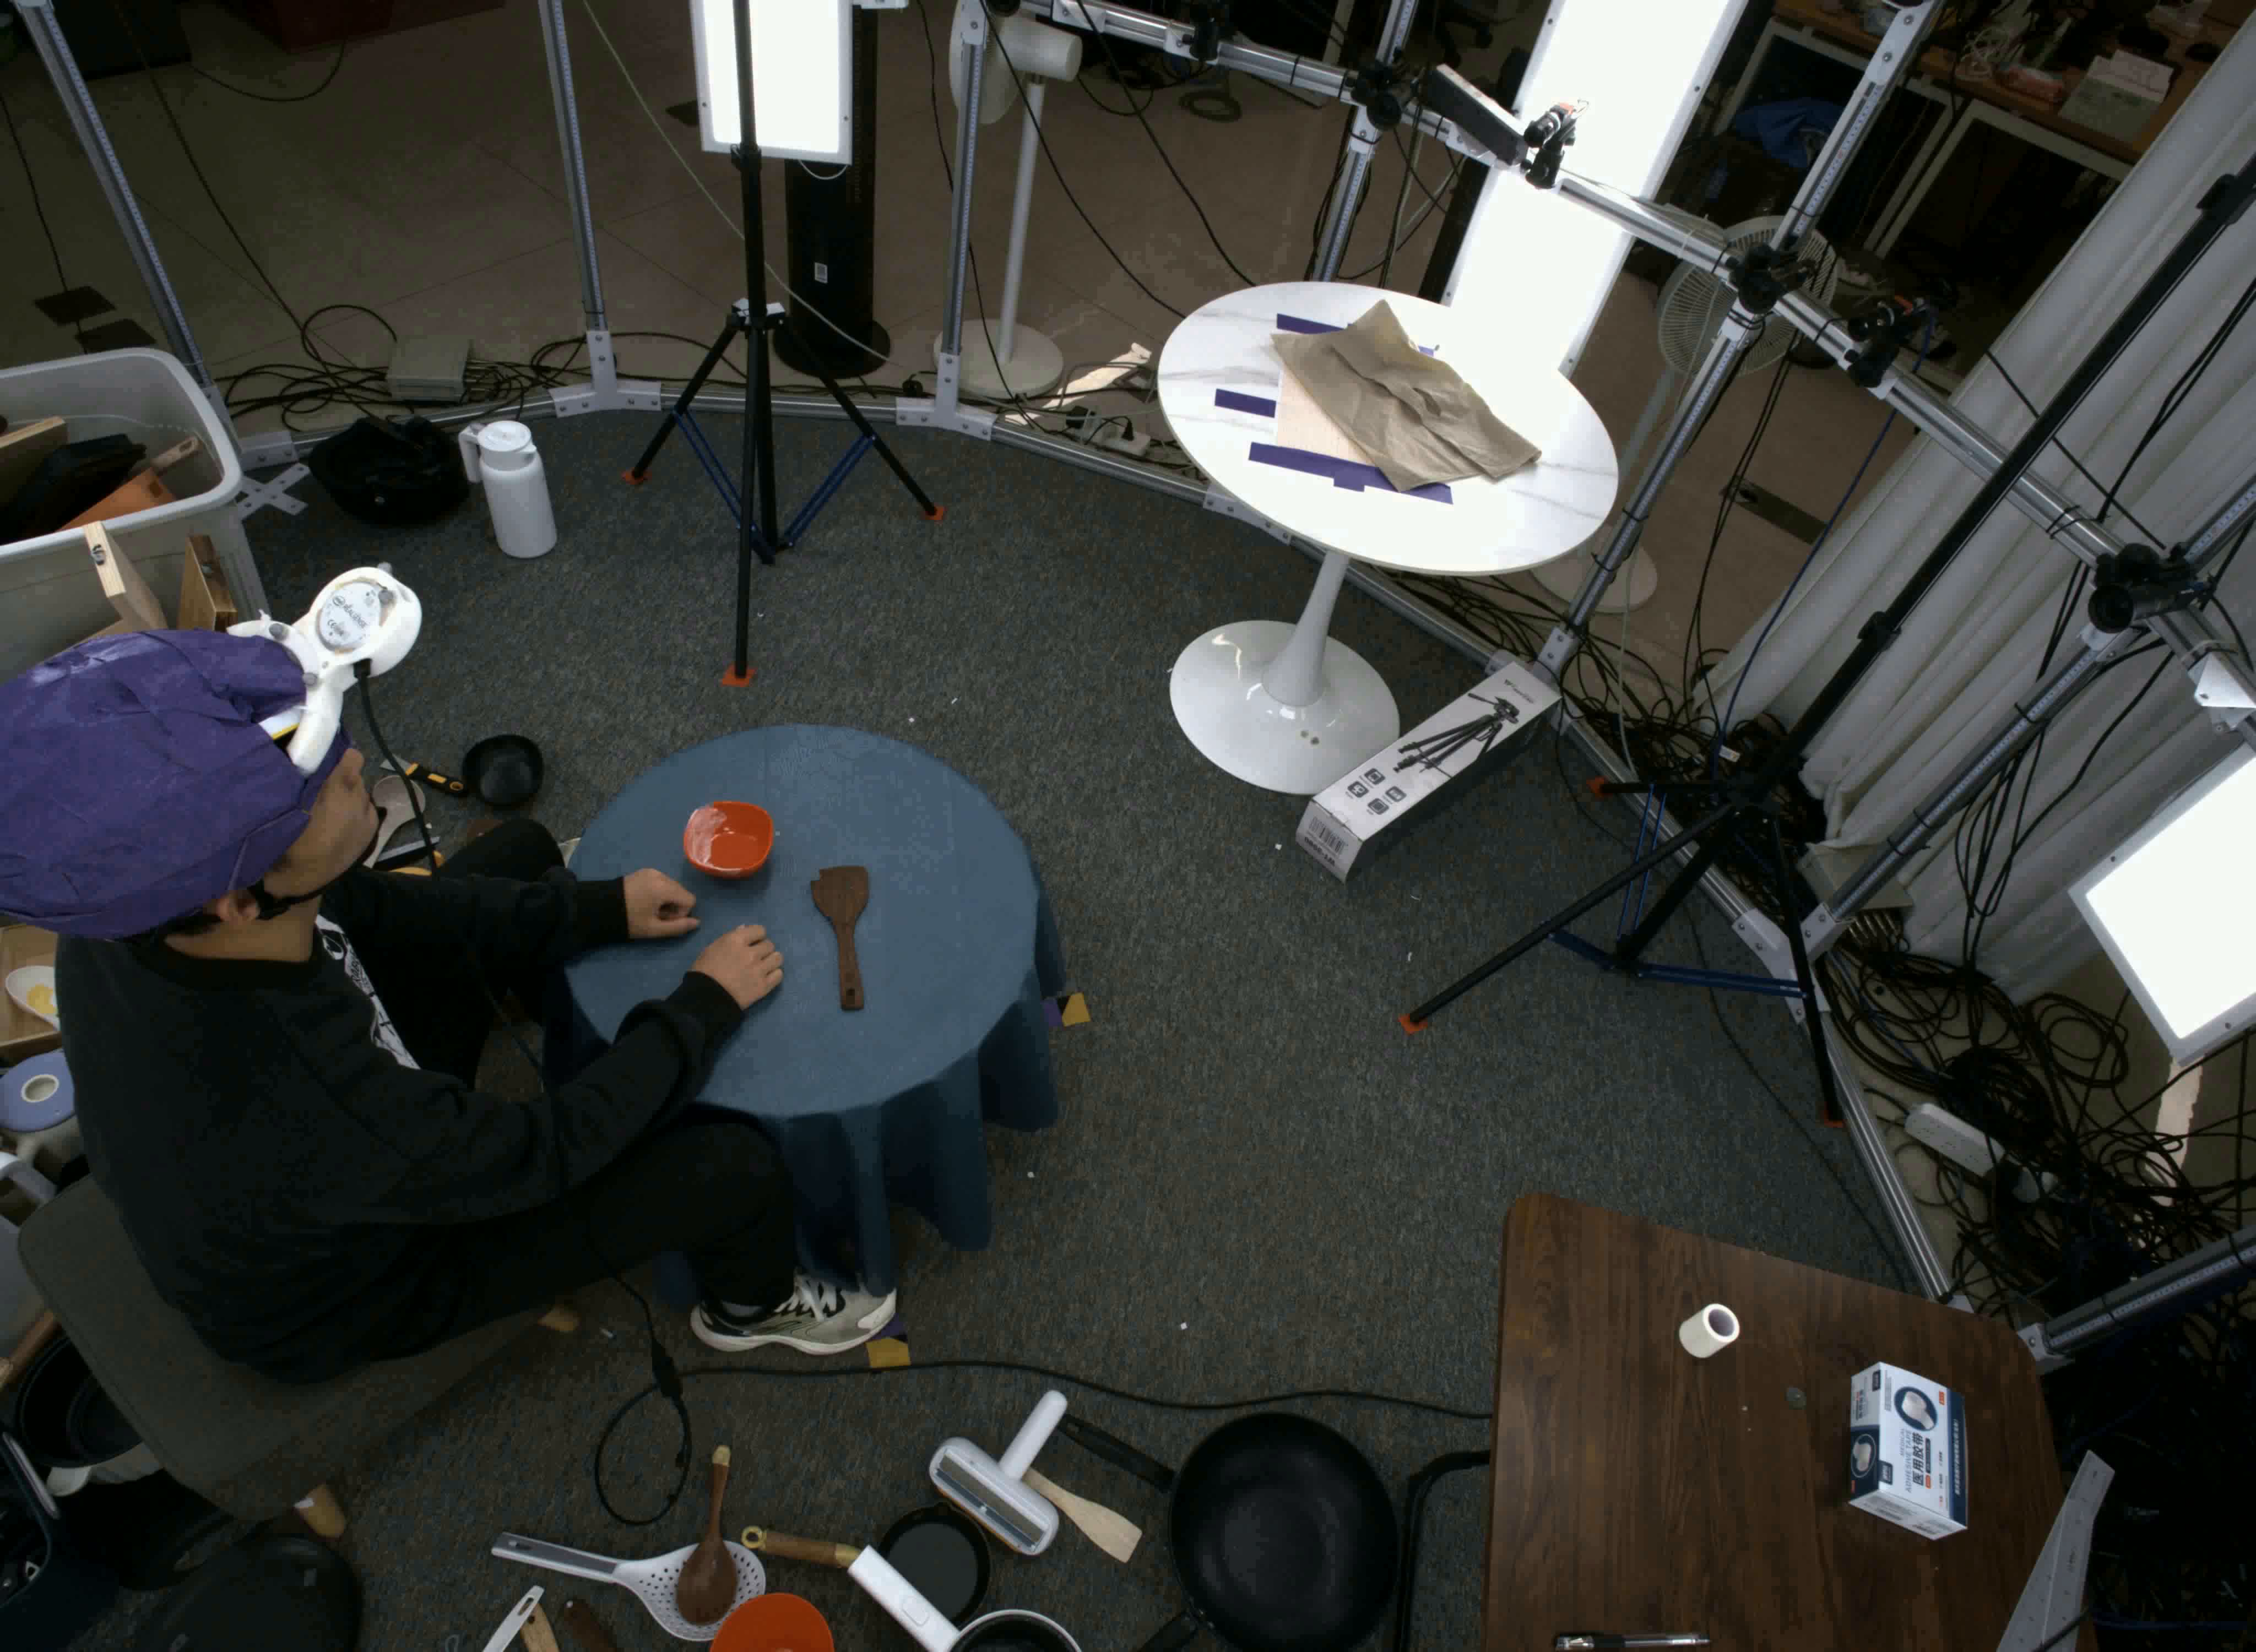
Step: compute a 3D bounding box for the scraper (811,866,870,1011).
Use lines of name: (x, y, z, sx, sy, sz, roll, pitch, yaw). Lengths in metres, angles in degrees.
scraper: (-0.356, 0.138, 1.639, 0.076, 0.011, 0.206, -4, 56, -16)

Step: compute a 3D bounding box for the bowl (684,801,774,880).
bowl: (-0.510, 0.026, 1.656, 0.119, 0.052, 0.117, 9, 52, -9)
